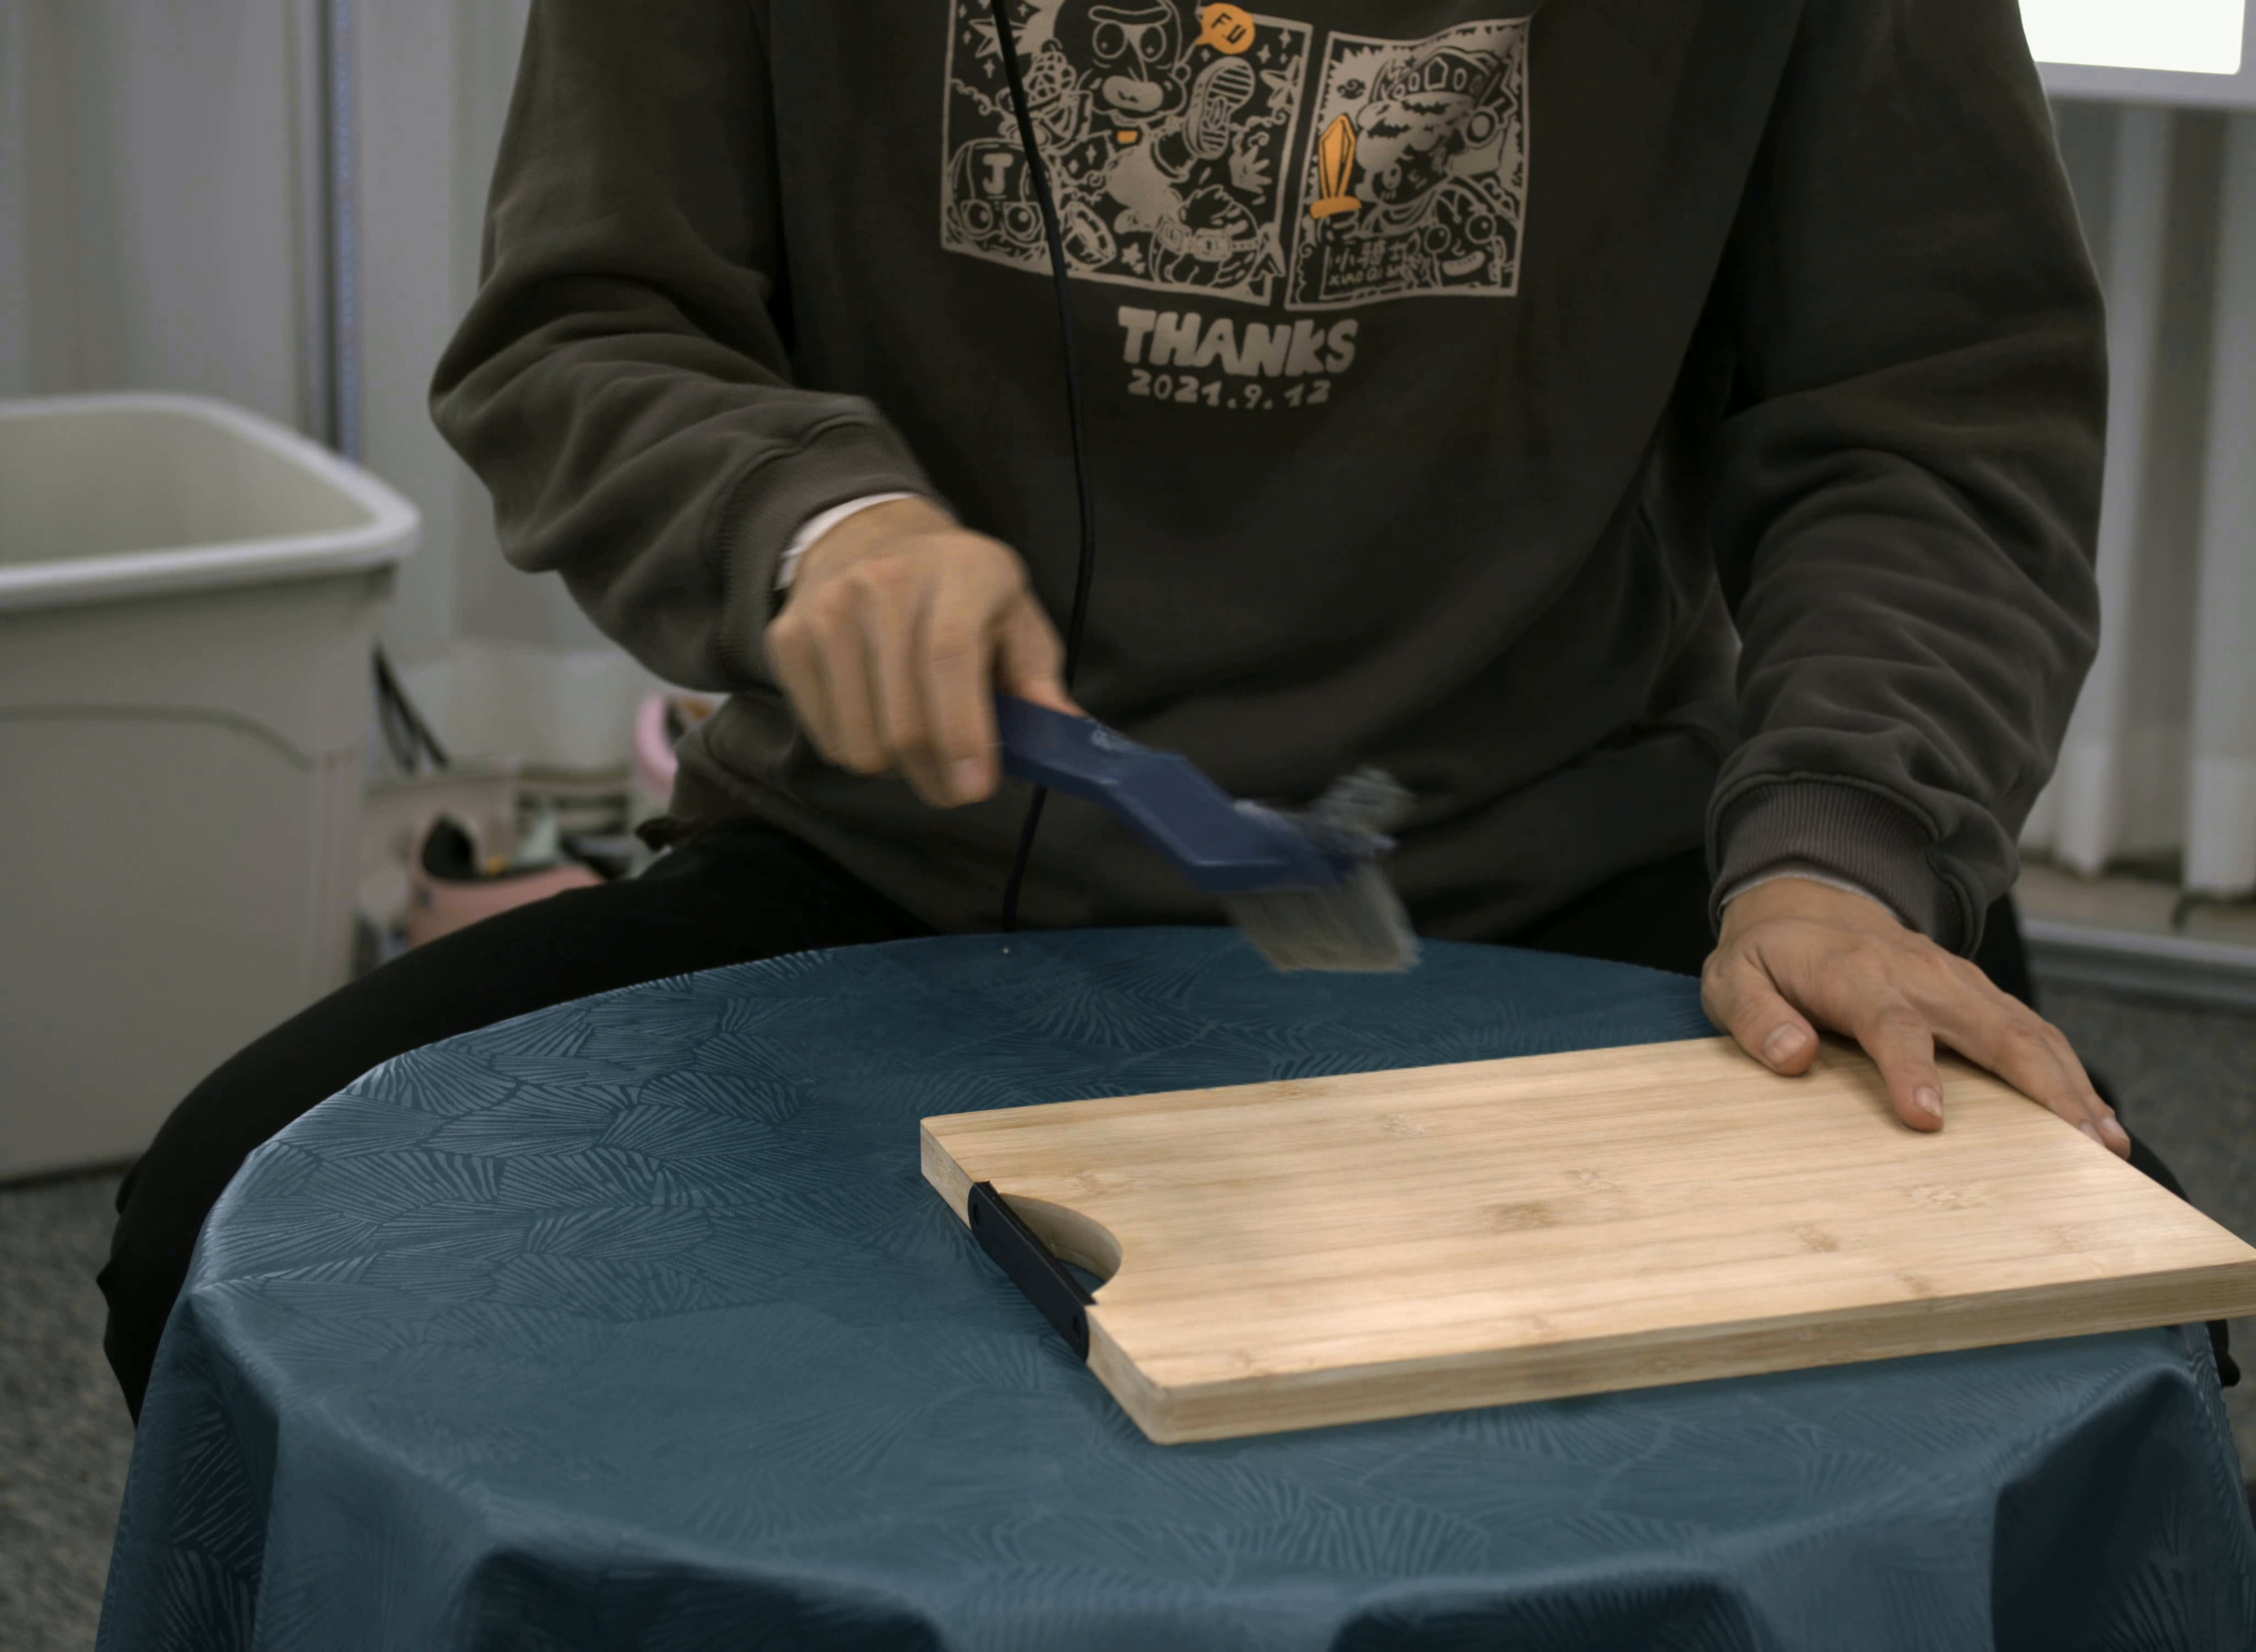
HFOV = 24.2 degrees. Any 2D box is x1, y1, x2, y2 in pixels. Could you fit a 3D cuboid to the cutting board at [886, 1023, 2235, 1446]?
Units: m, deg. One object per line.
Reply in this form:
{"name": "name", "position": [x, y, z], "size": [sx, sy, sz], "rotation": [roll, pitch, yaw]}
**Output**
{"name": "cutting board", "position": [0.125, 0.118, 1.586], "size": [0.349, 0.024, 0.248], "rotation": [-5, 16, -19]}

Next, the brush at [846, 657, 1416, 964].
{"name": "brush", "position": [-0.002, -0.023, 1.605], "size": [0.033, 0.097, 0.269], "rotation": [-36, 41, -24]}
